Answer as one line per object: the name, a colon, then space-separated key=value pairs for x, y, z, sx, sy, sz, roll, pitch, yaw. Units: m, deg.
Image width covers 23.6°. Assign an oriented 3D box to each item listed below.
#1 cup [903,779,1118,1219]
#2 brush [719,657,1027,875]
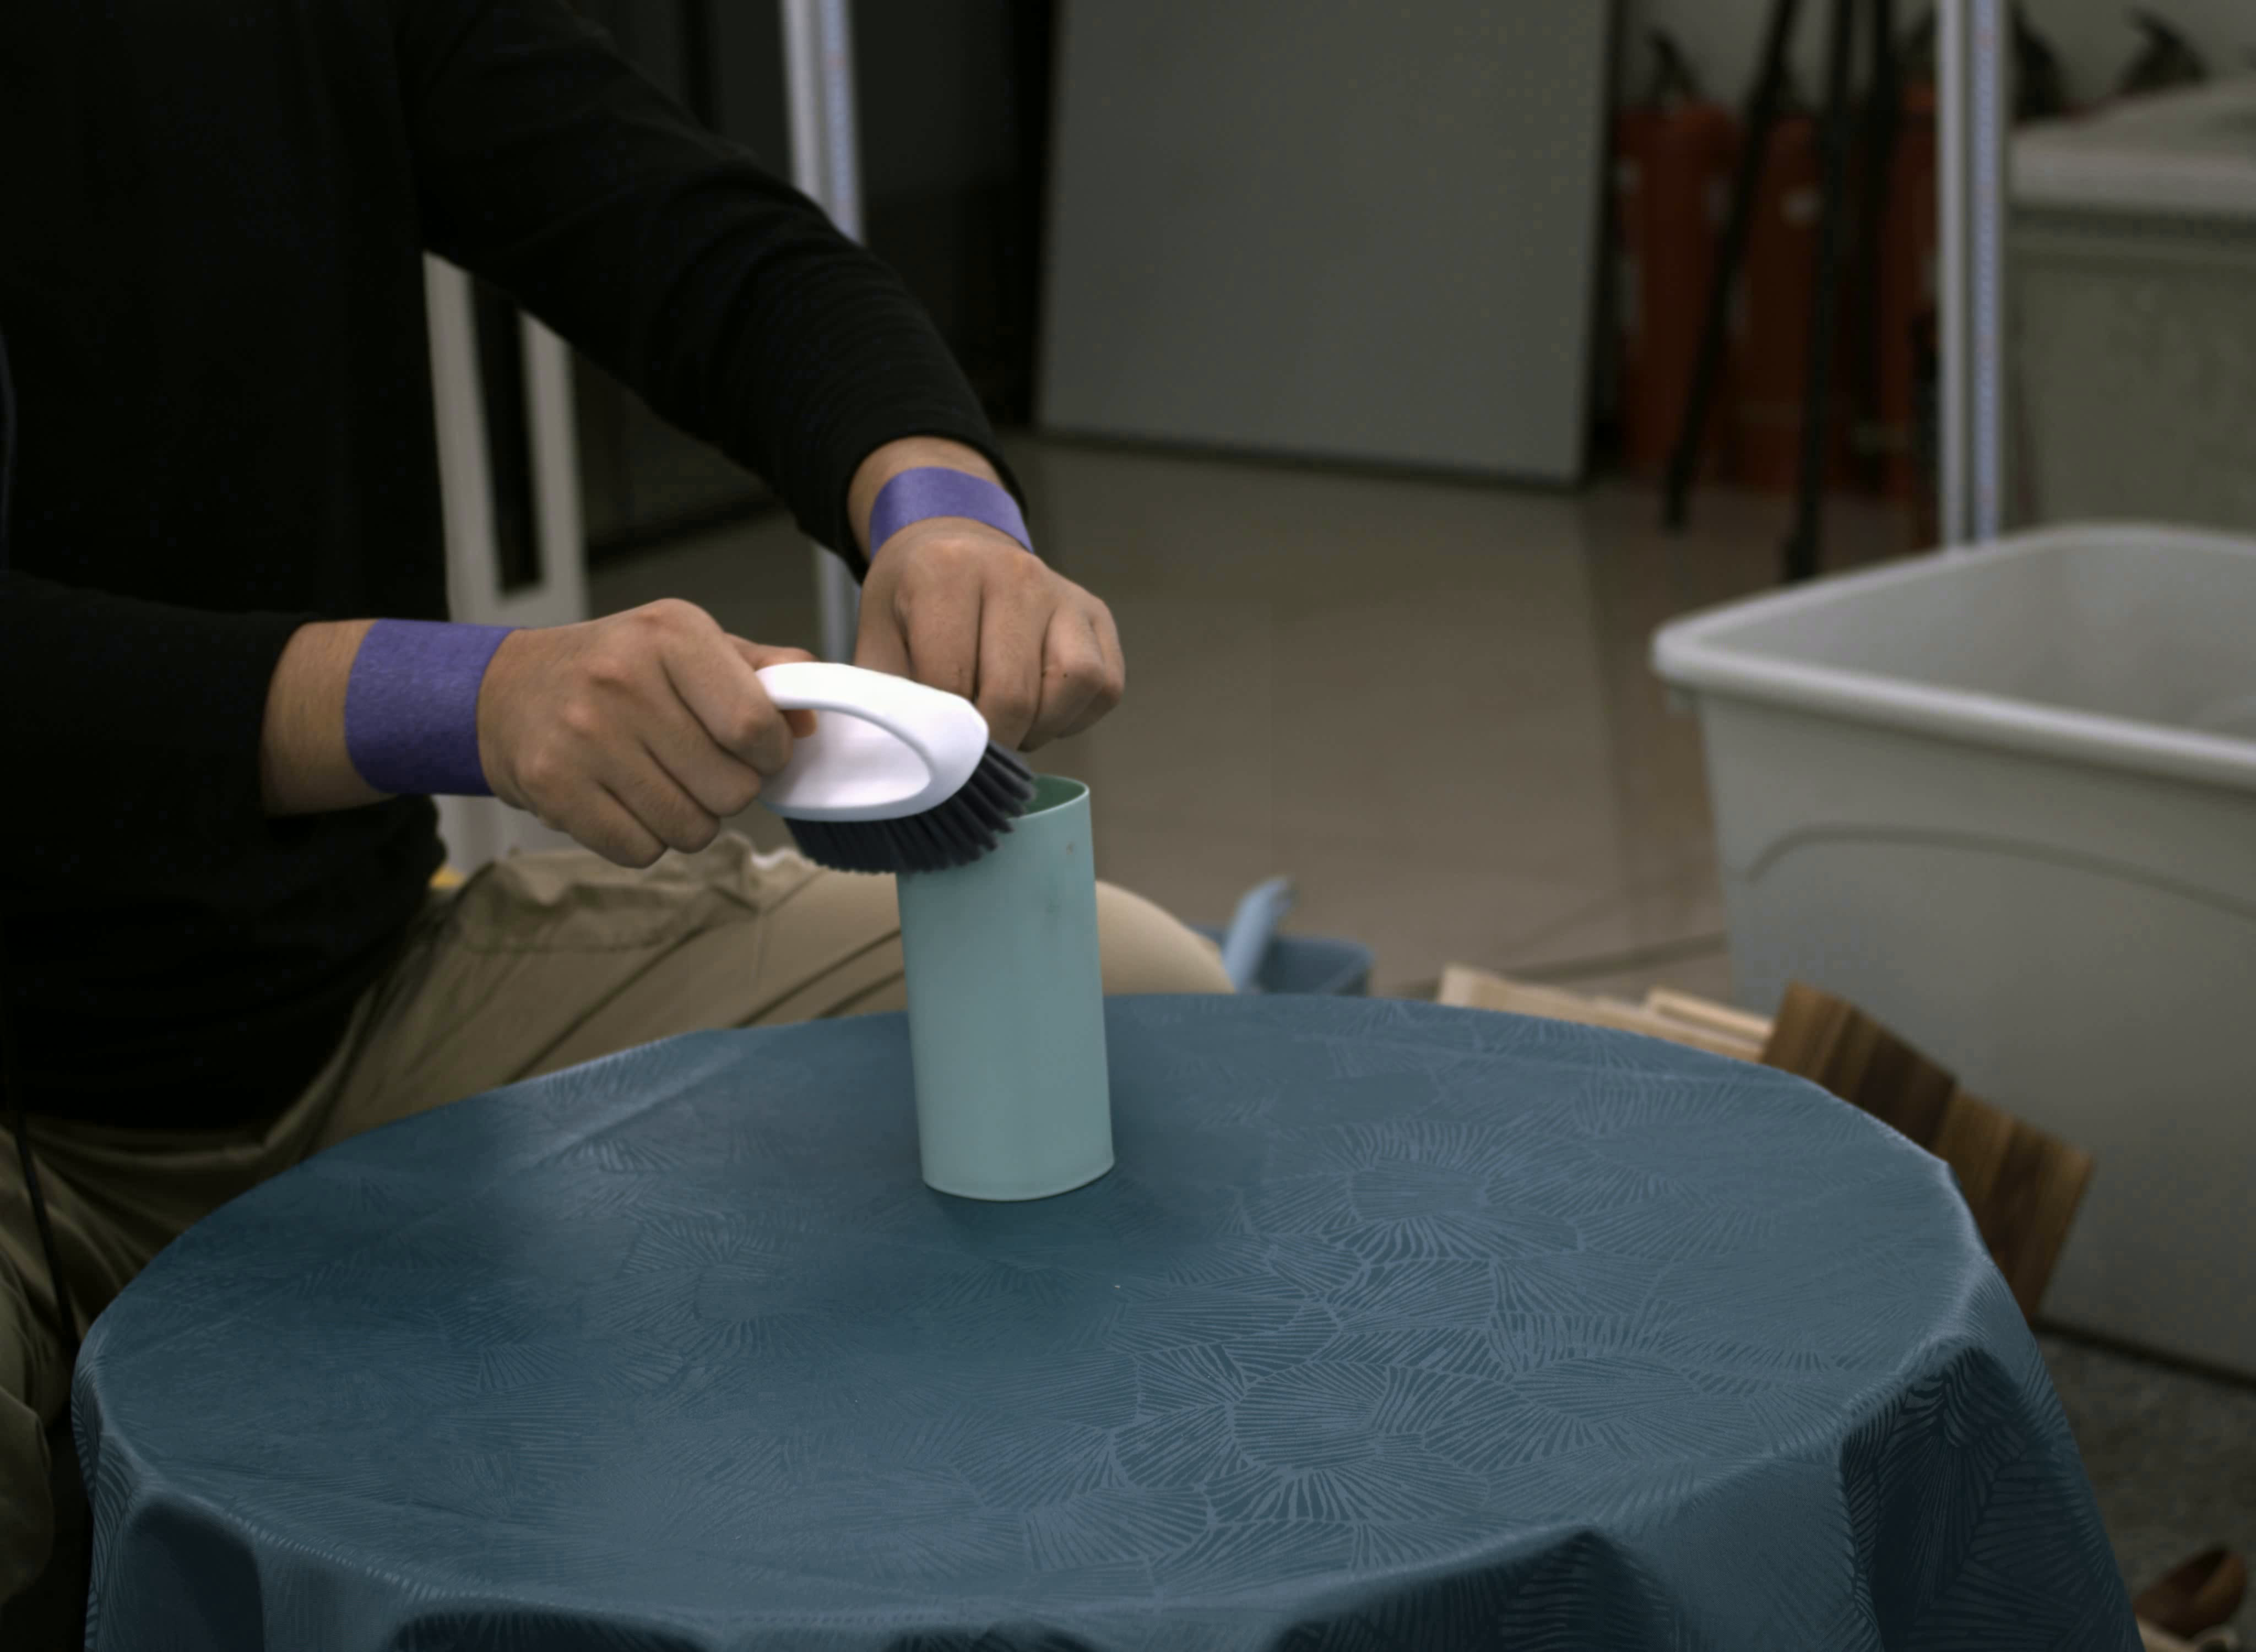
cup: x=-0.040 y=0.057 z=1.782 sx=0.066 sy=0.134 sz=0.067 roll=-4 pitch=14 yaw=0
brush: x=-0.089 y=-0.026 z=1.729 sx=0.100 sy=0.072 sz=0.050 roll=3 pitch=54 yaw=45
